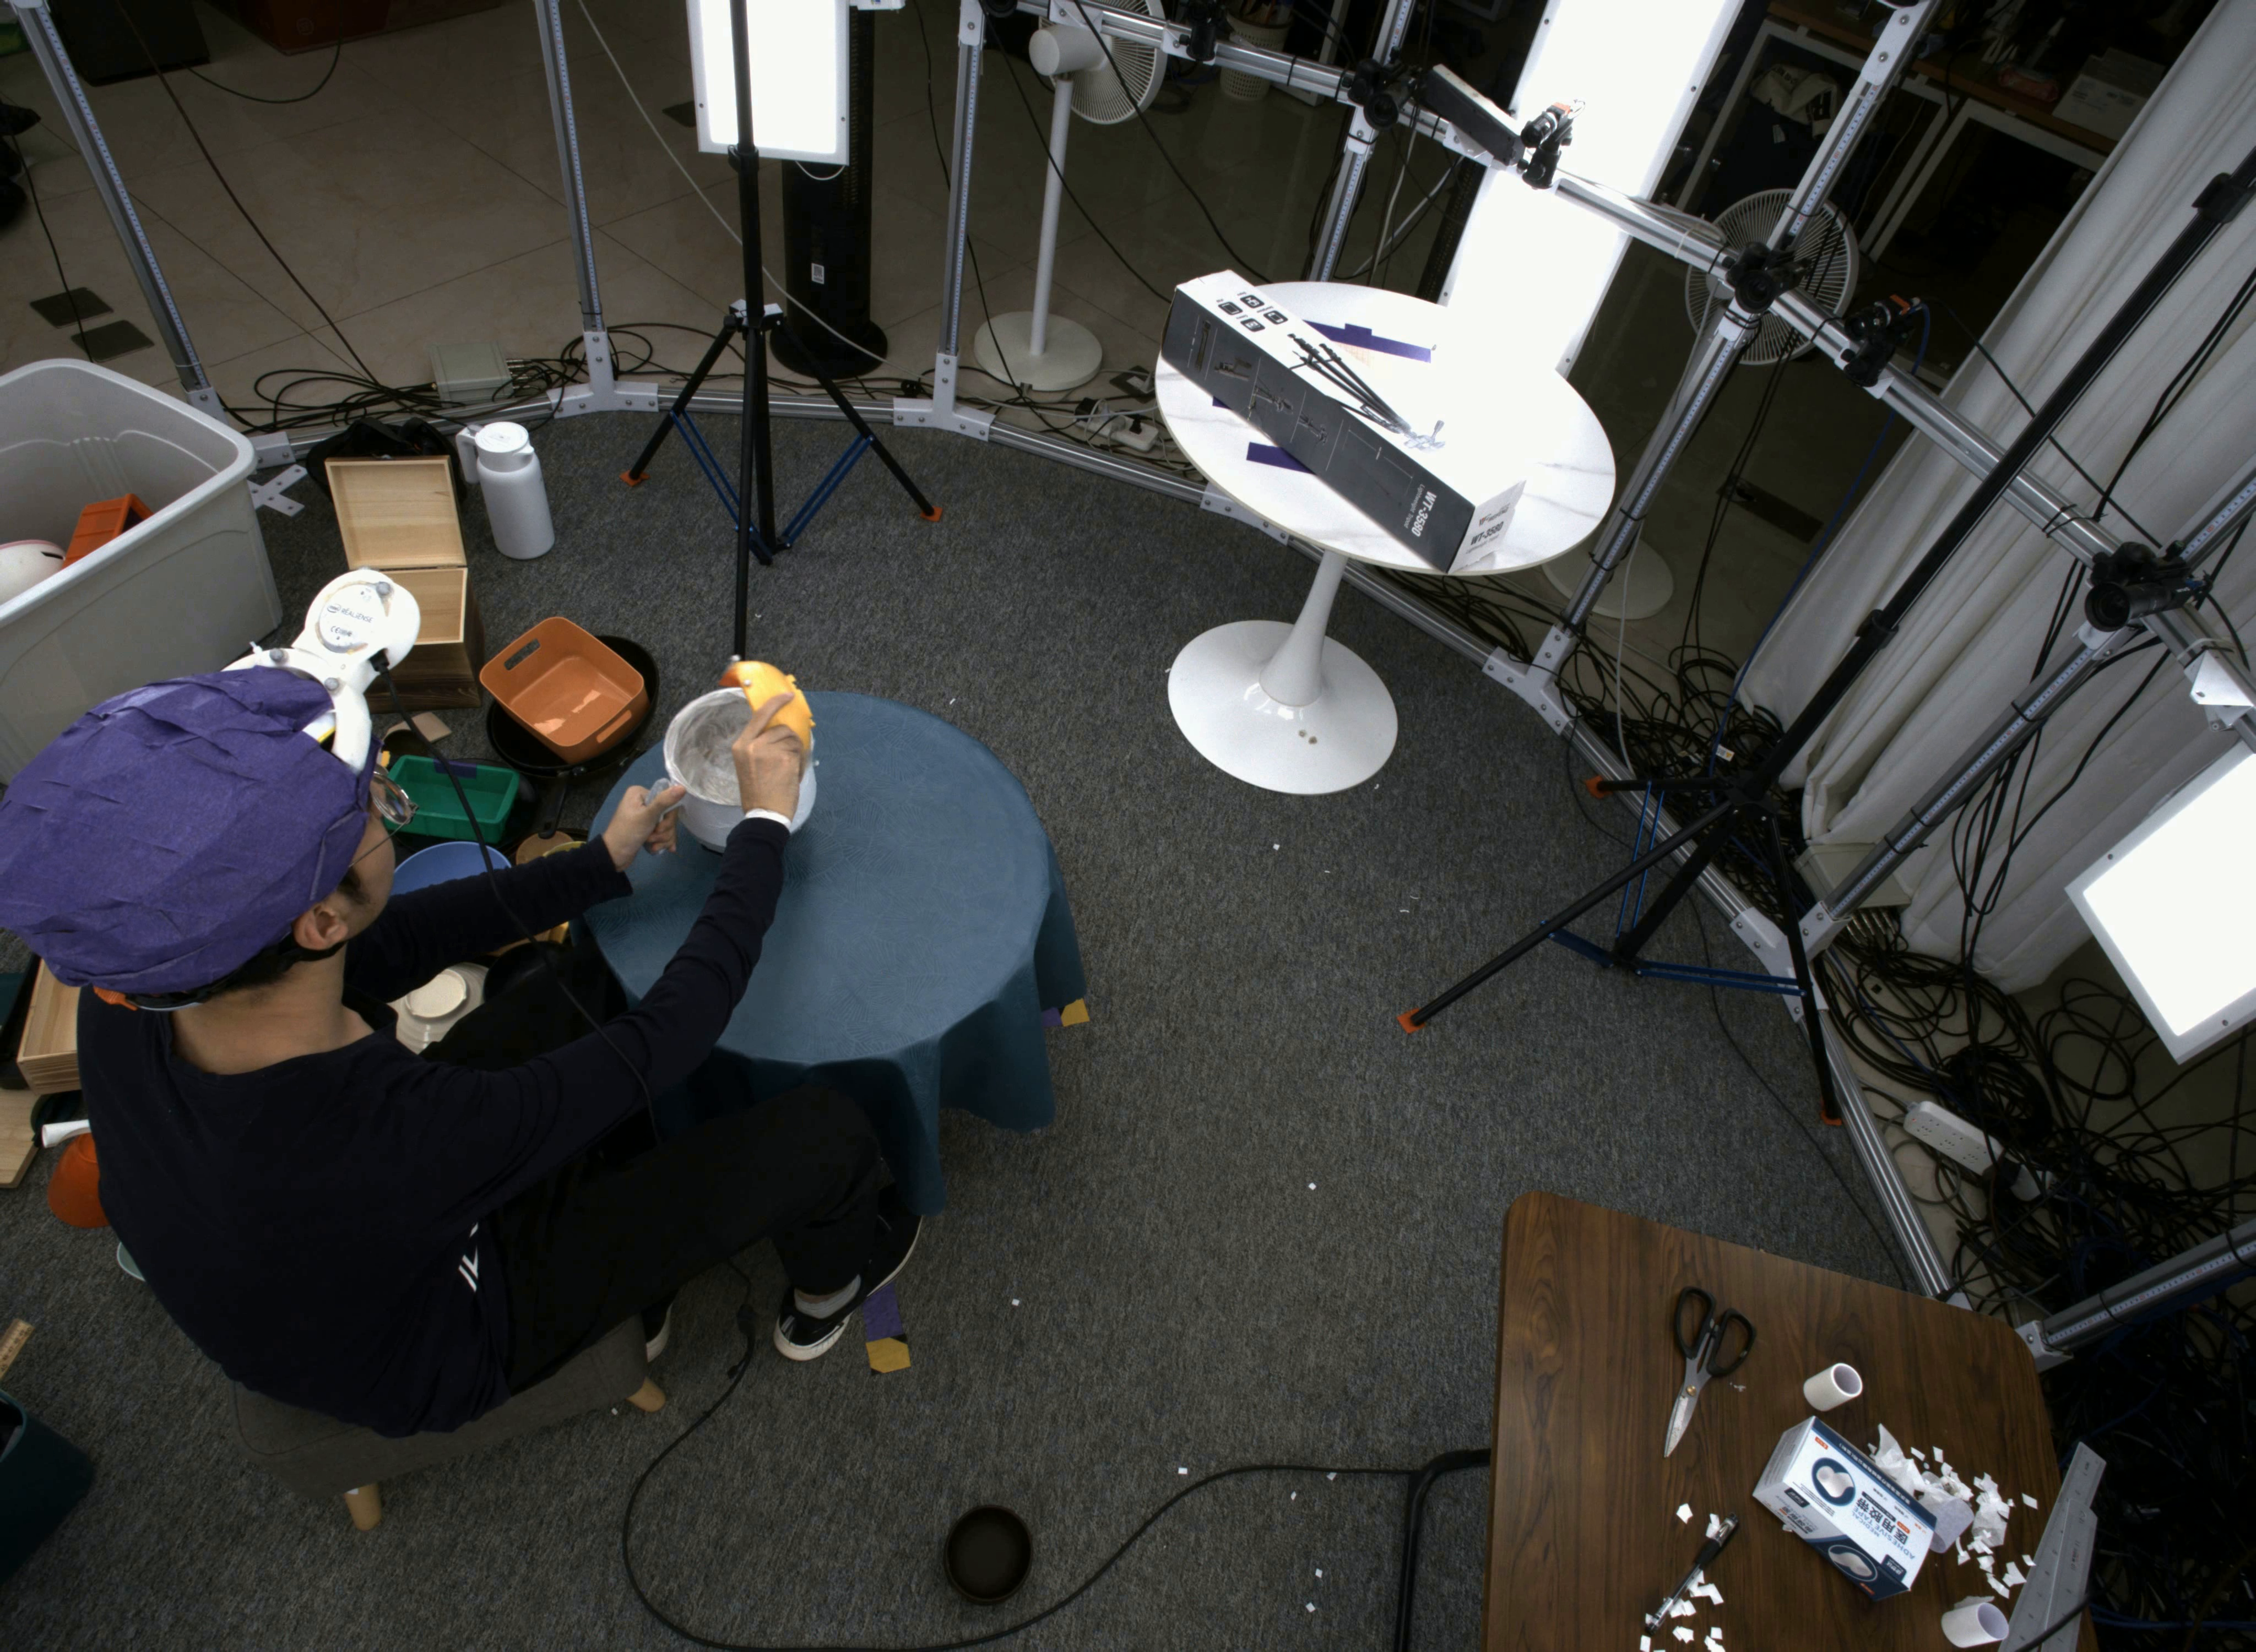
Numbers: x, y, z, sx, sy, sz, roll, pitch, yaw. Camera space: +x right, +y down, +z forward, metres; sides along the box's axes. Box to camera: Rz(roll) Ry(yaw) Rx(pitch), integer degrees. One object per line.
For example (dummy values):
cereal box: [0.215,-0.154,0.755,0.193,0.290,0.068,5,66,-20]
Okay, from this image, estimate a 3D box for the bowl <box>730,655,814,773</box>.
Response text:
bowl: [-0.409,-0.140,1.514,0.060,0.149,0.141,-25,61,-12]

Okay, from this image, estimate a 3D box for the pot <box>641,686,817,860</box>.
pot: [-0.502,-0.052,1.607,0.234,0.139,0.175,-35,68,-29]
